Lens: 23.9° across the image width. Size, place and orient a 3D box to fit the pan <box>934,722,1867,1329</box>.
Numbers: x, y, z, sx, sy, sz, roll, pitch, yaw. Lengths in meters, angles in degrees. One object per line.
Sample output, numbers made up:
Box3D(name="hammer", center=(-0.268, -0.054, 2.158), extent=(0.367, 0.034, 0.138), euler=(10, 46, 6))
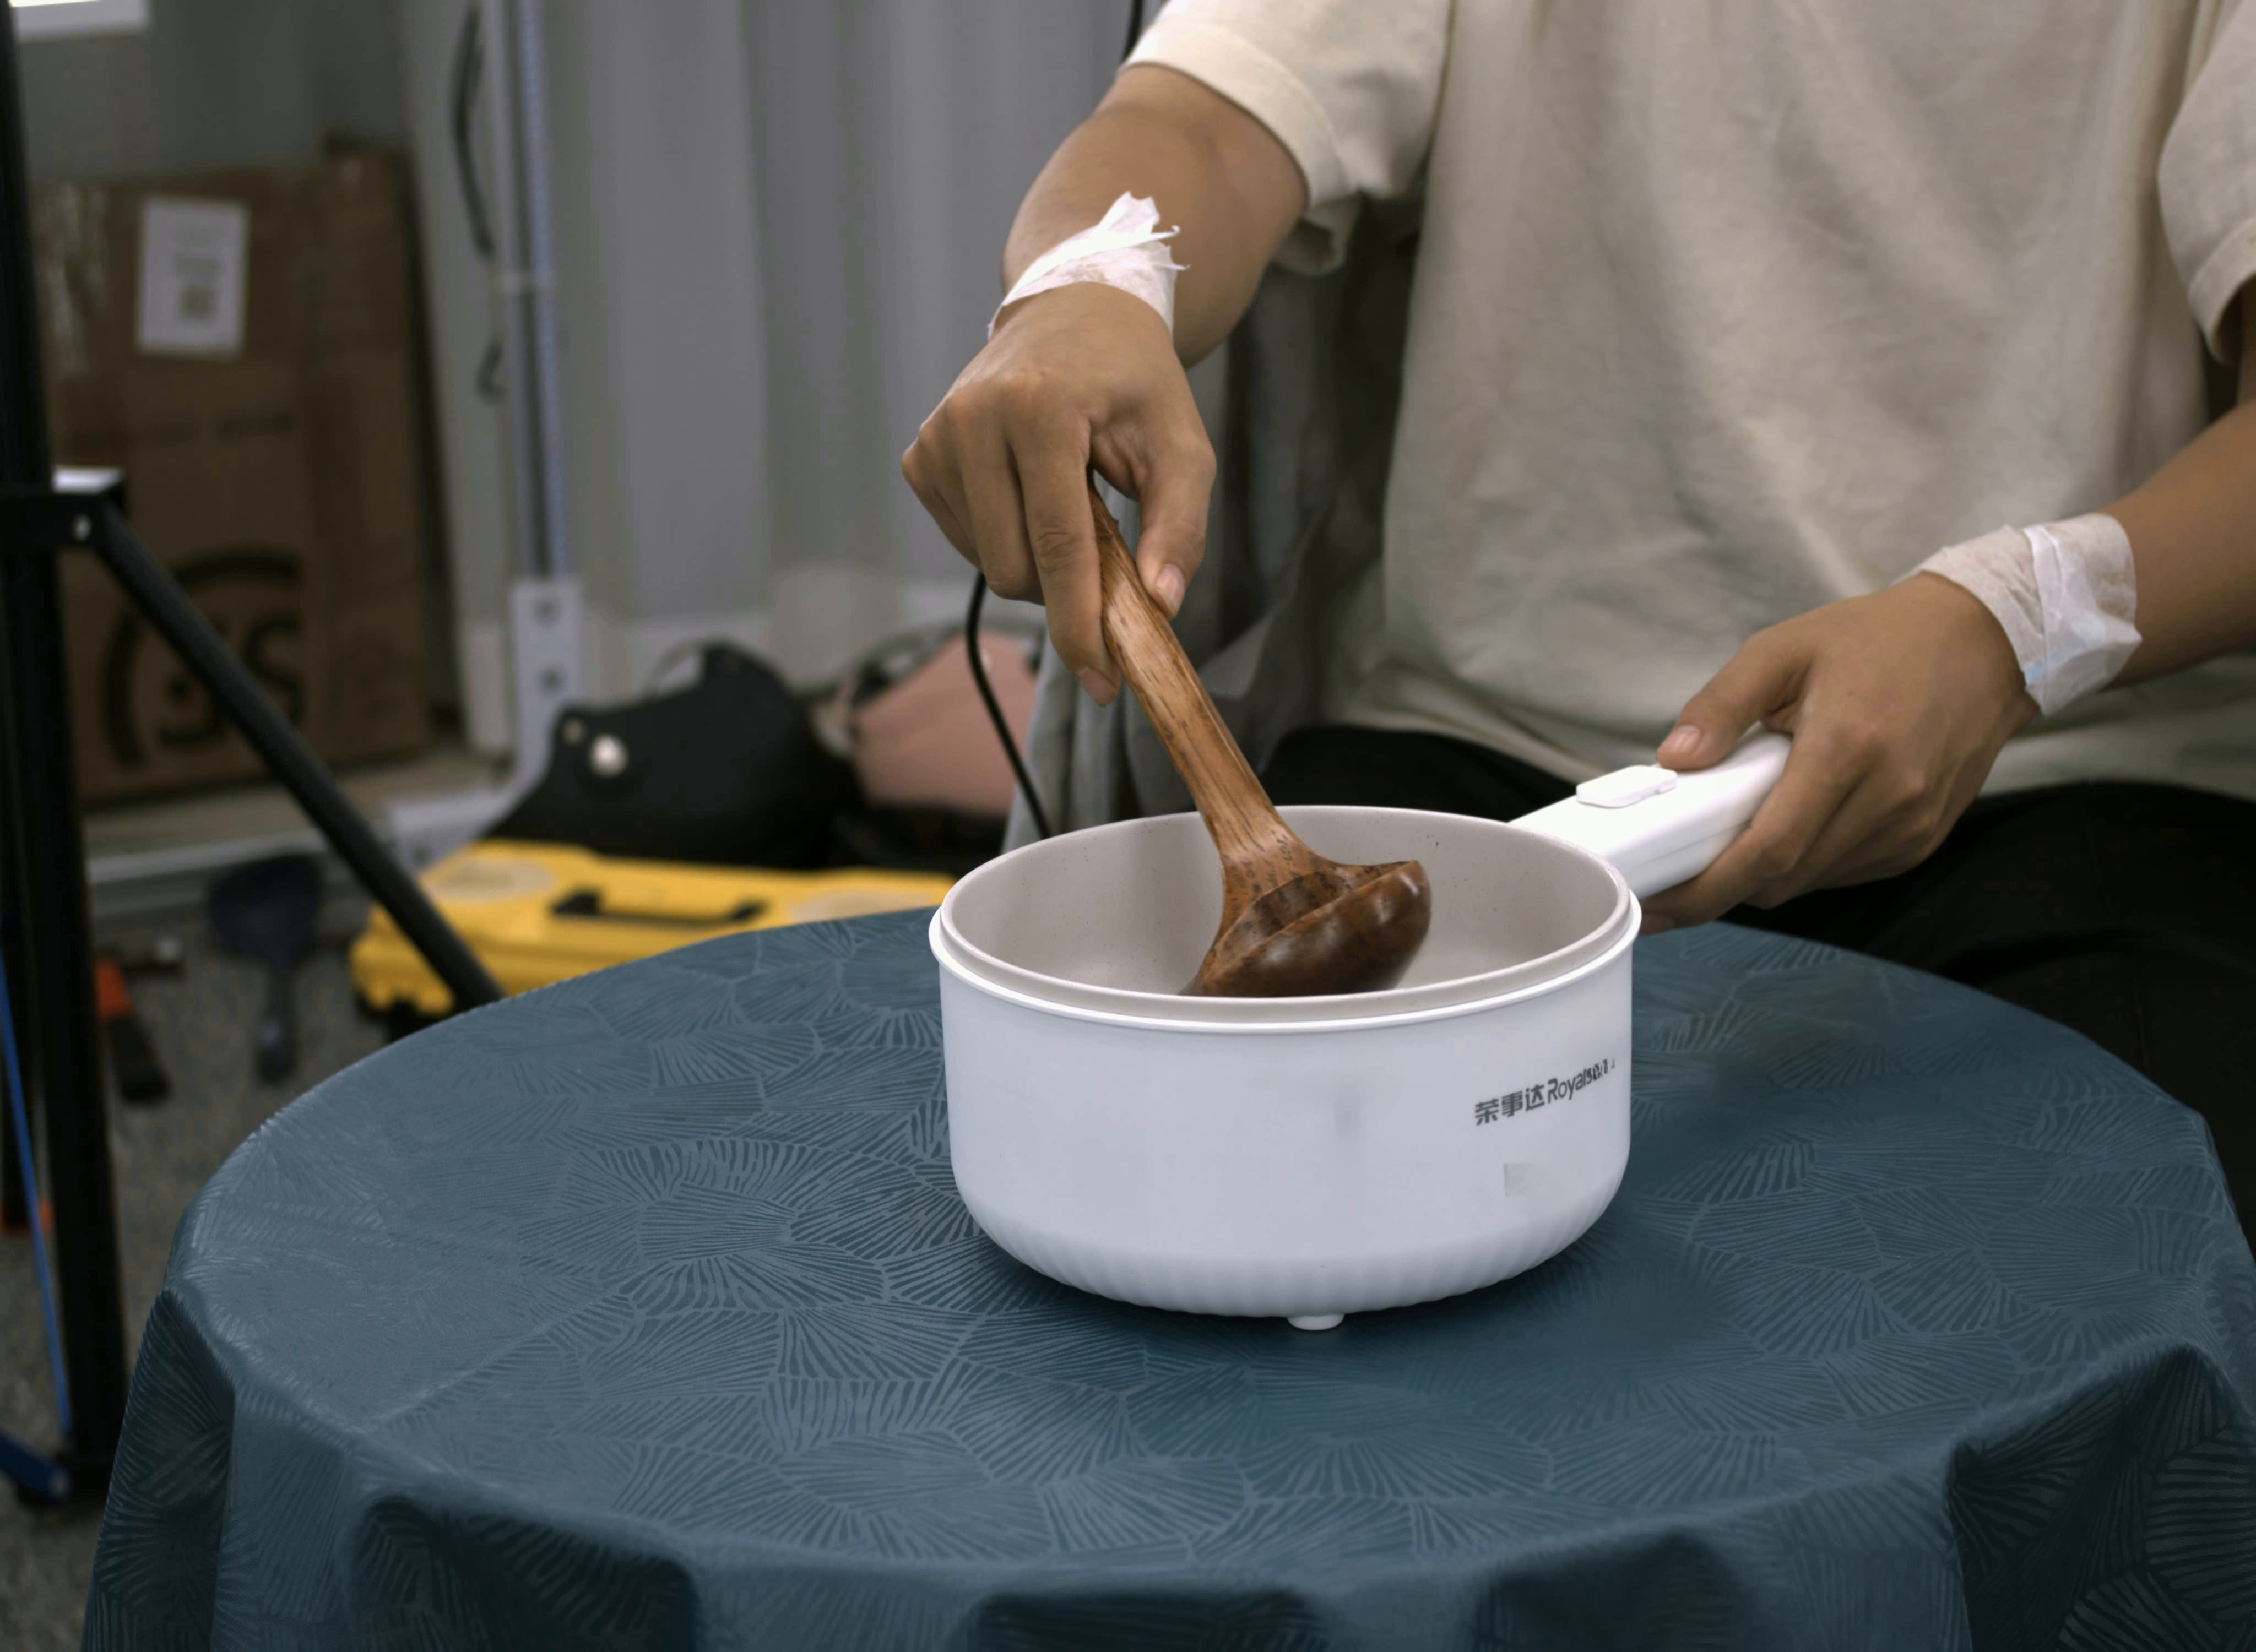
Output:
Box3D(name="pan", center=(0.098, 0.052, 1.557), extent=(0.206, 0.102, 0.347), euler=(11, 20, 42))

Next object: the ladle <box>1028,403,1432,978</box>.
Box3D(name="ladle", center=(0.012, -0.041, 1.528), extent=(0.081, 0.075, 0.279), euler=(-25, 52, 0))
